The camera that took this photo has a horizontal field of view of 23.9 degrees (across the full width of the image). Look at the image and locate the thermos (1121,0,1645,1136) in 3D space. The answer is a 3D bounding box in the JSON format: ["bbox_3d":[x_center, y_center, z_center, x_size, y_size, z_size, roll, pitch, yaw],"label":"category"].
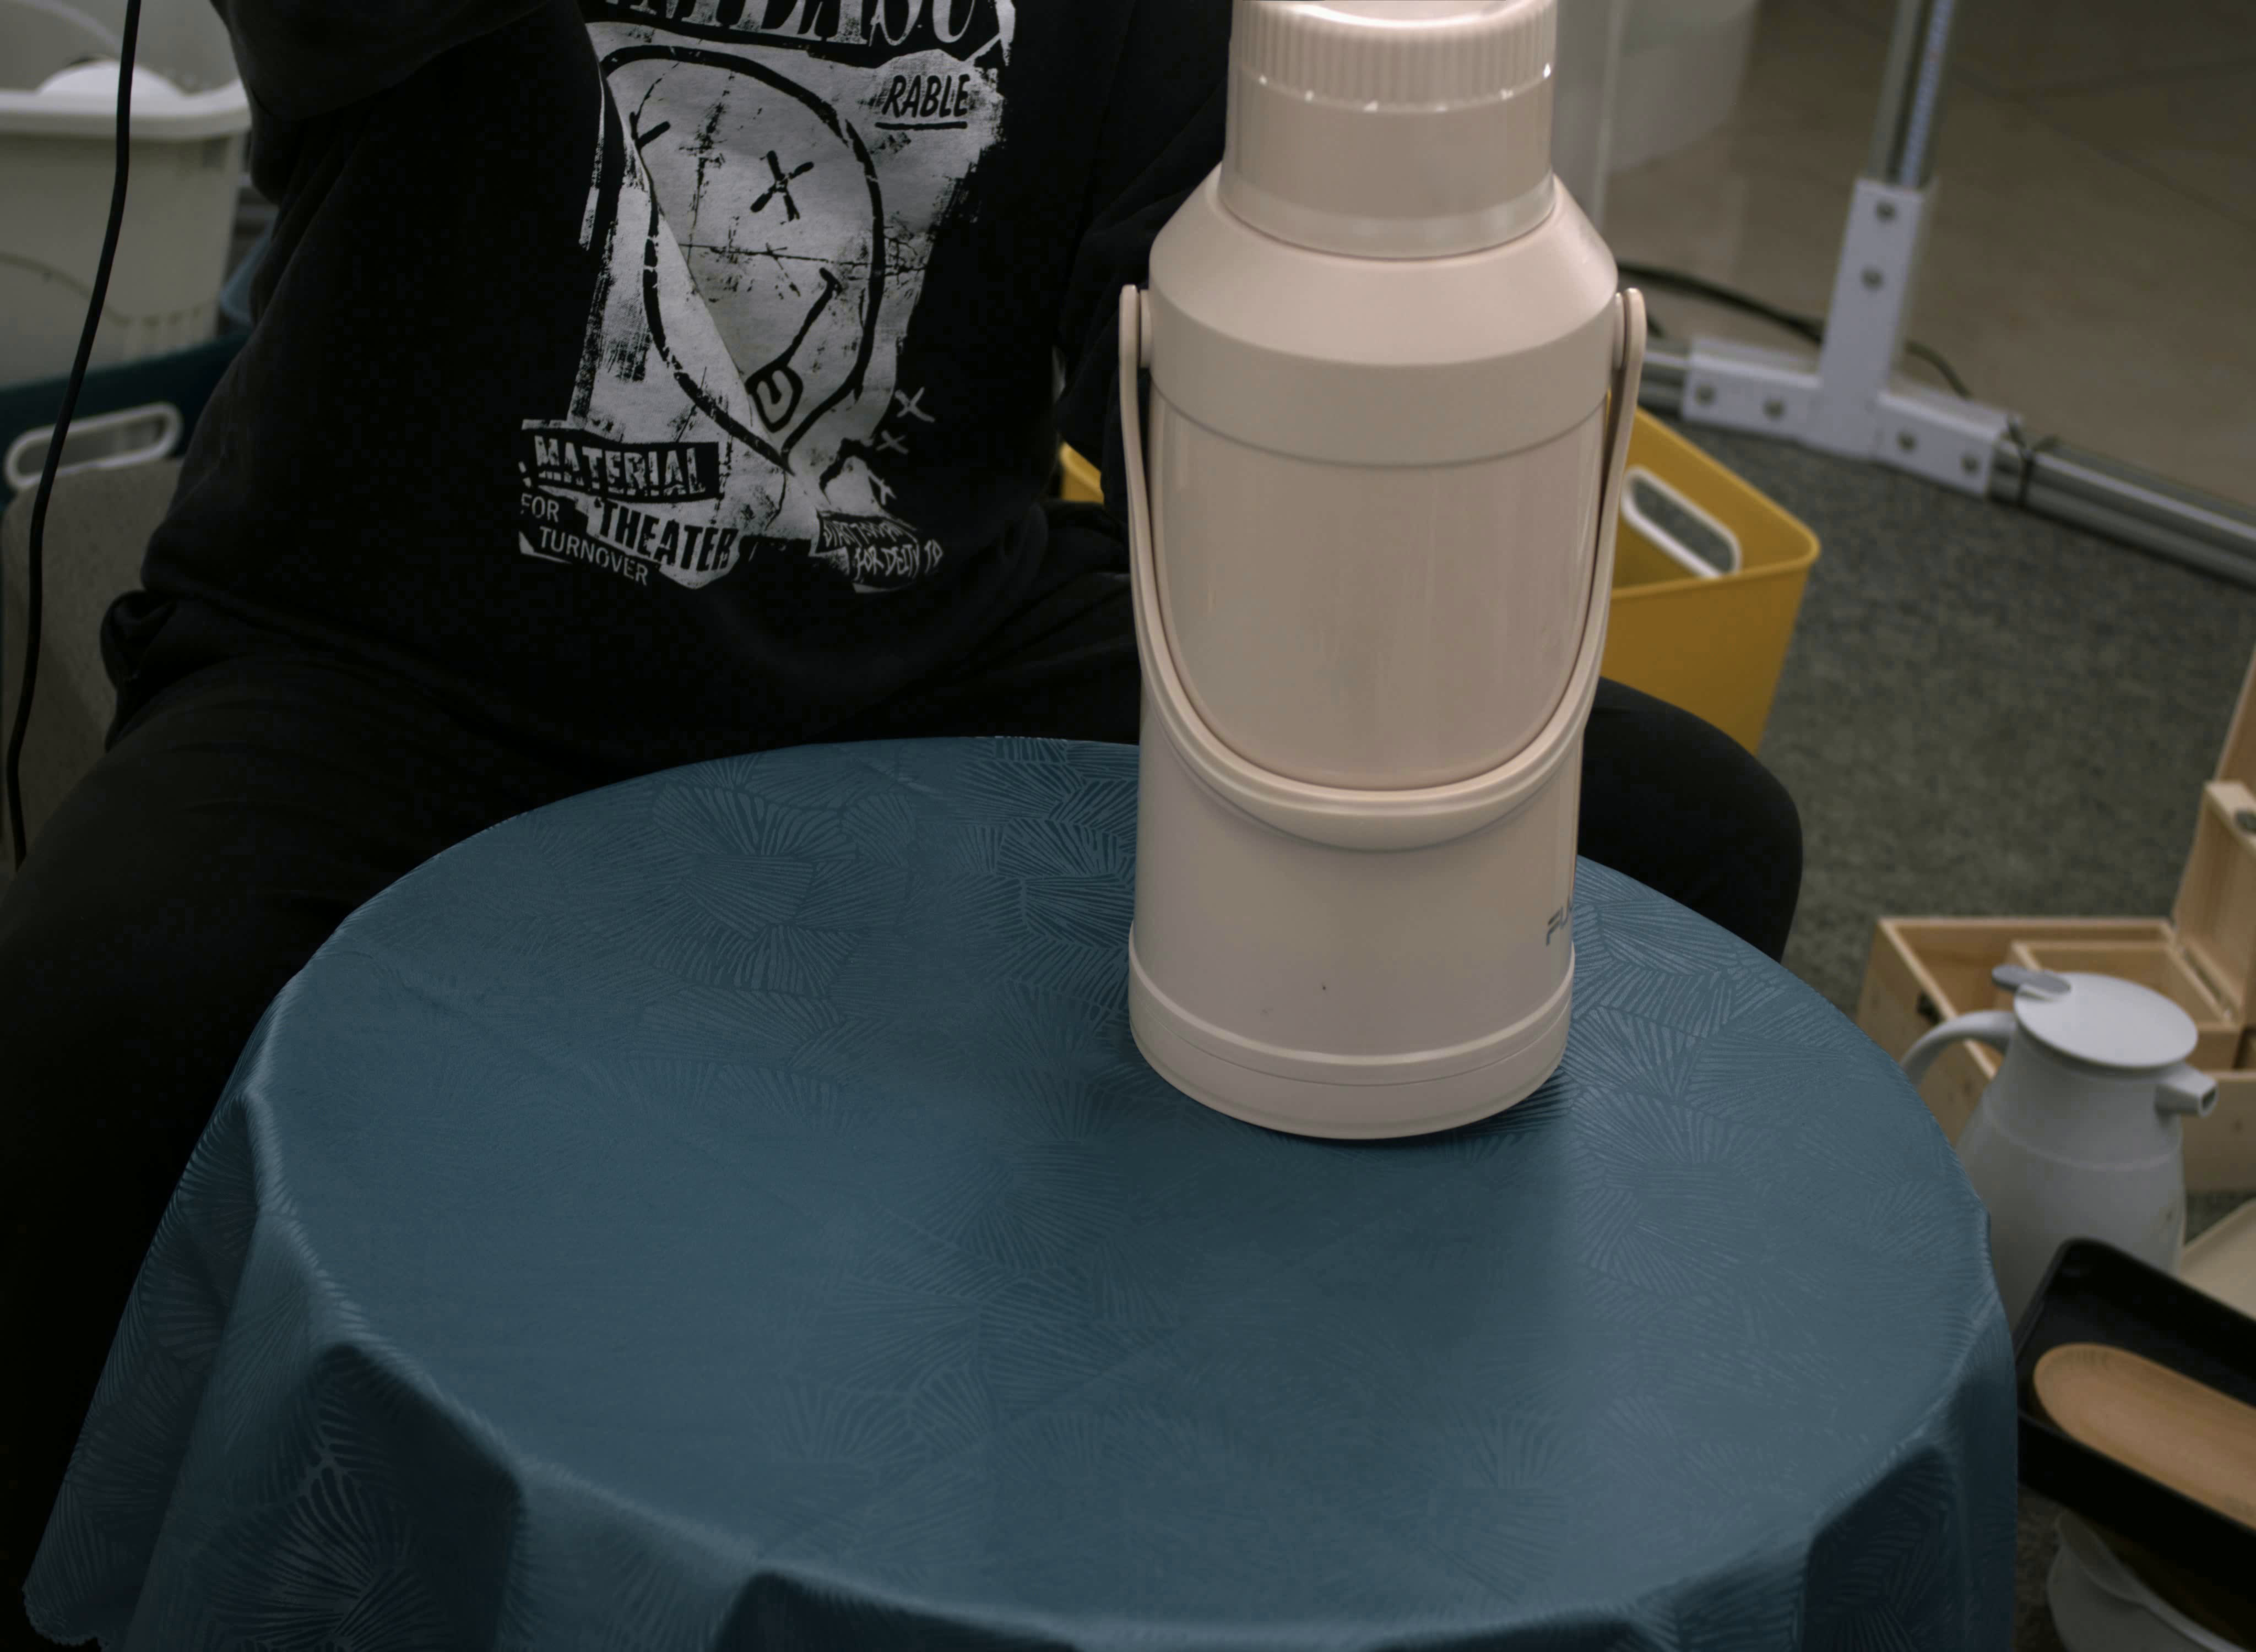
[{"bbox_3d":[0.085,-0.110,1.831,0.175,0.404,0.208,-1,29,-2],"label":"thermos"}]
